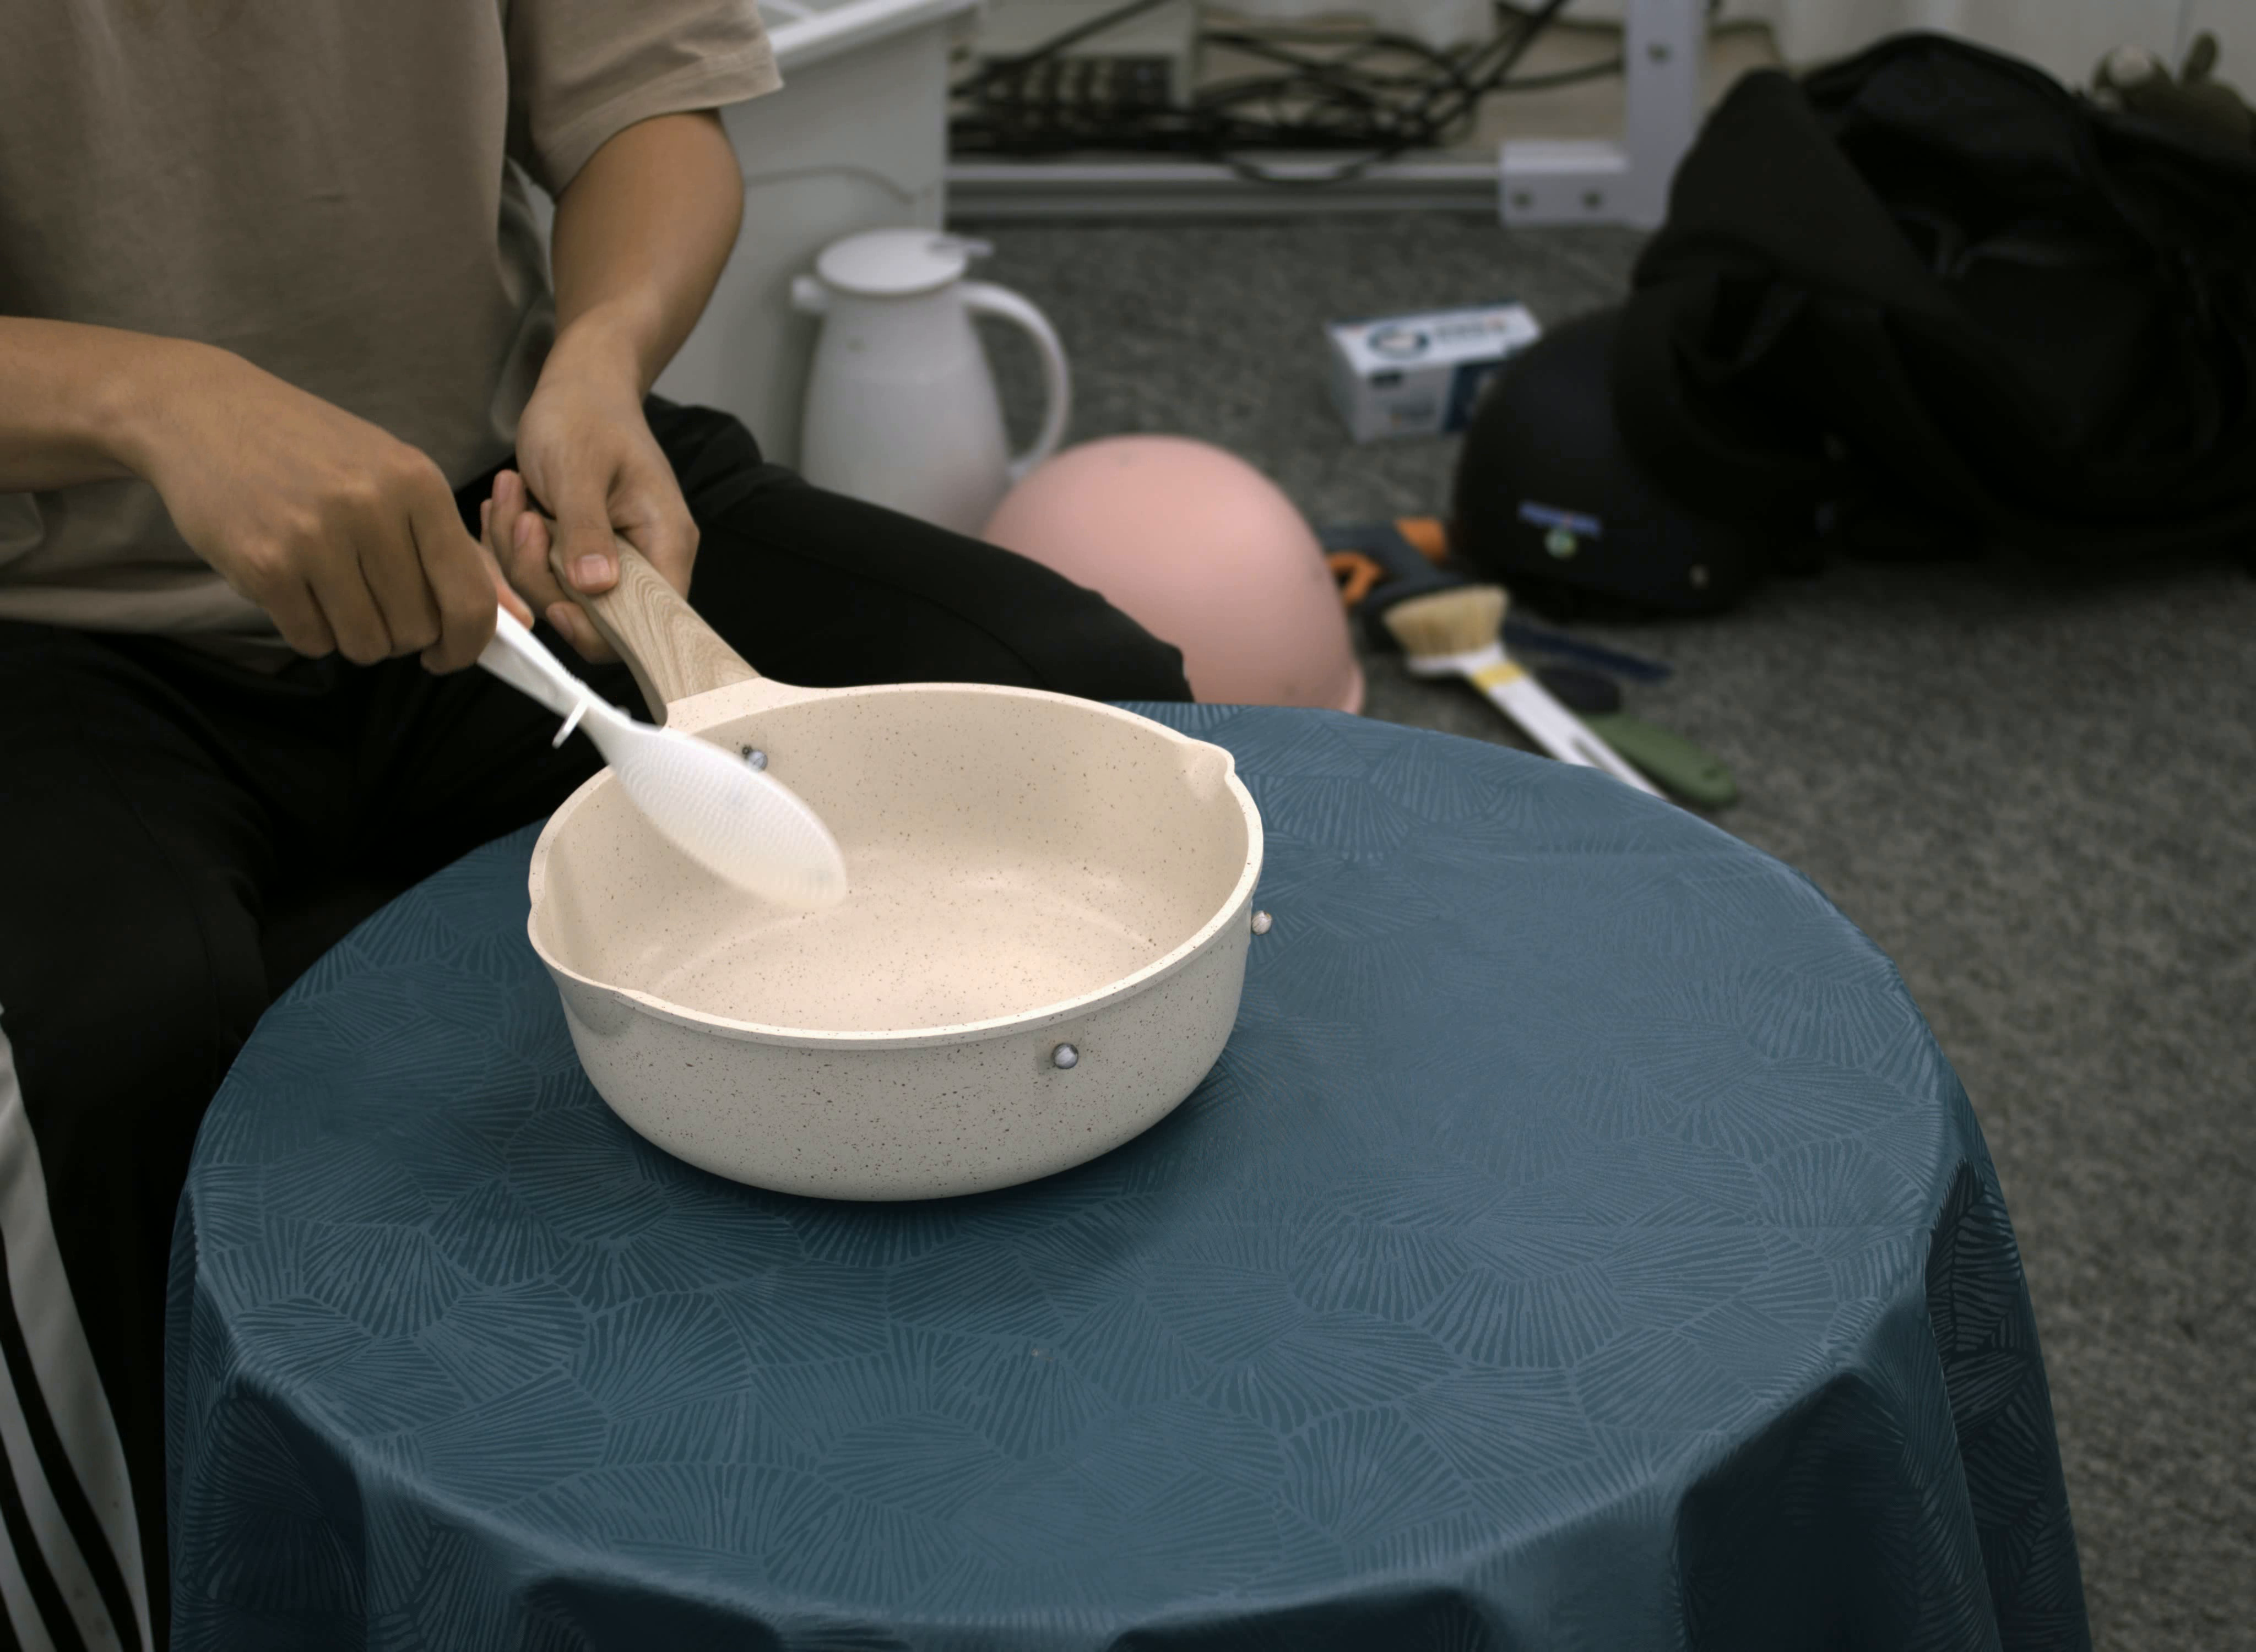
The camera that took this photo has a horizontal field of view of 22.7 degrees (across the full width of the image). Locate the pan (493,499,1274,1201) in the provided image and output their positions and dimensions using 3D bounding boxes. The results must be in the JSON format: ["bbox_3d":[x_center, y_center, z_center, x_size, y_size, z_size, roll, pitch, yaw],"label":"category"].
[{"bbox_3d":[-0.118,0.002,2.001,0.265,0.101,0.437,-19,31,-24],"label":"pan"}]

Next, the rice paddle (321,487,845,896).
[{"bbox_3d":[-0.177,-0.041,1.881,0.204,0.067,0.030,36,57,-8],"label":"rice paddle"}]
